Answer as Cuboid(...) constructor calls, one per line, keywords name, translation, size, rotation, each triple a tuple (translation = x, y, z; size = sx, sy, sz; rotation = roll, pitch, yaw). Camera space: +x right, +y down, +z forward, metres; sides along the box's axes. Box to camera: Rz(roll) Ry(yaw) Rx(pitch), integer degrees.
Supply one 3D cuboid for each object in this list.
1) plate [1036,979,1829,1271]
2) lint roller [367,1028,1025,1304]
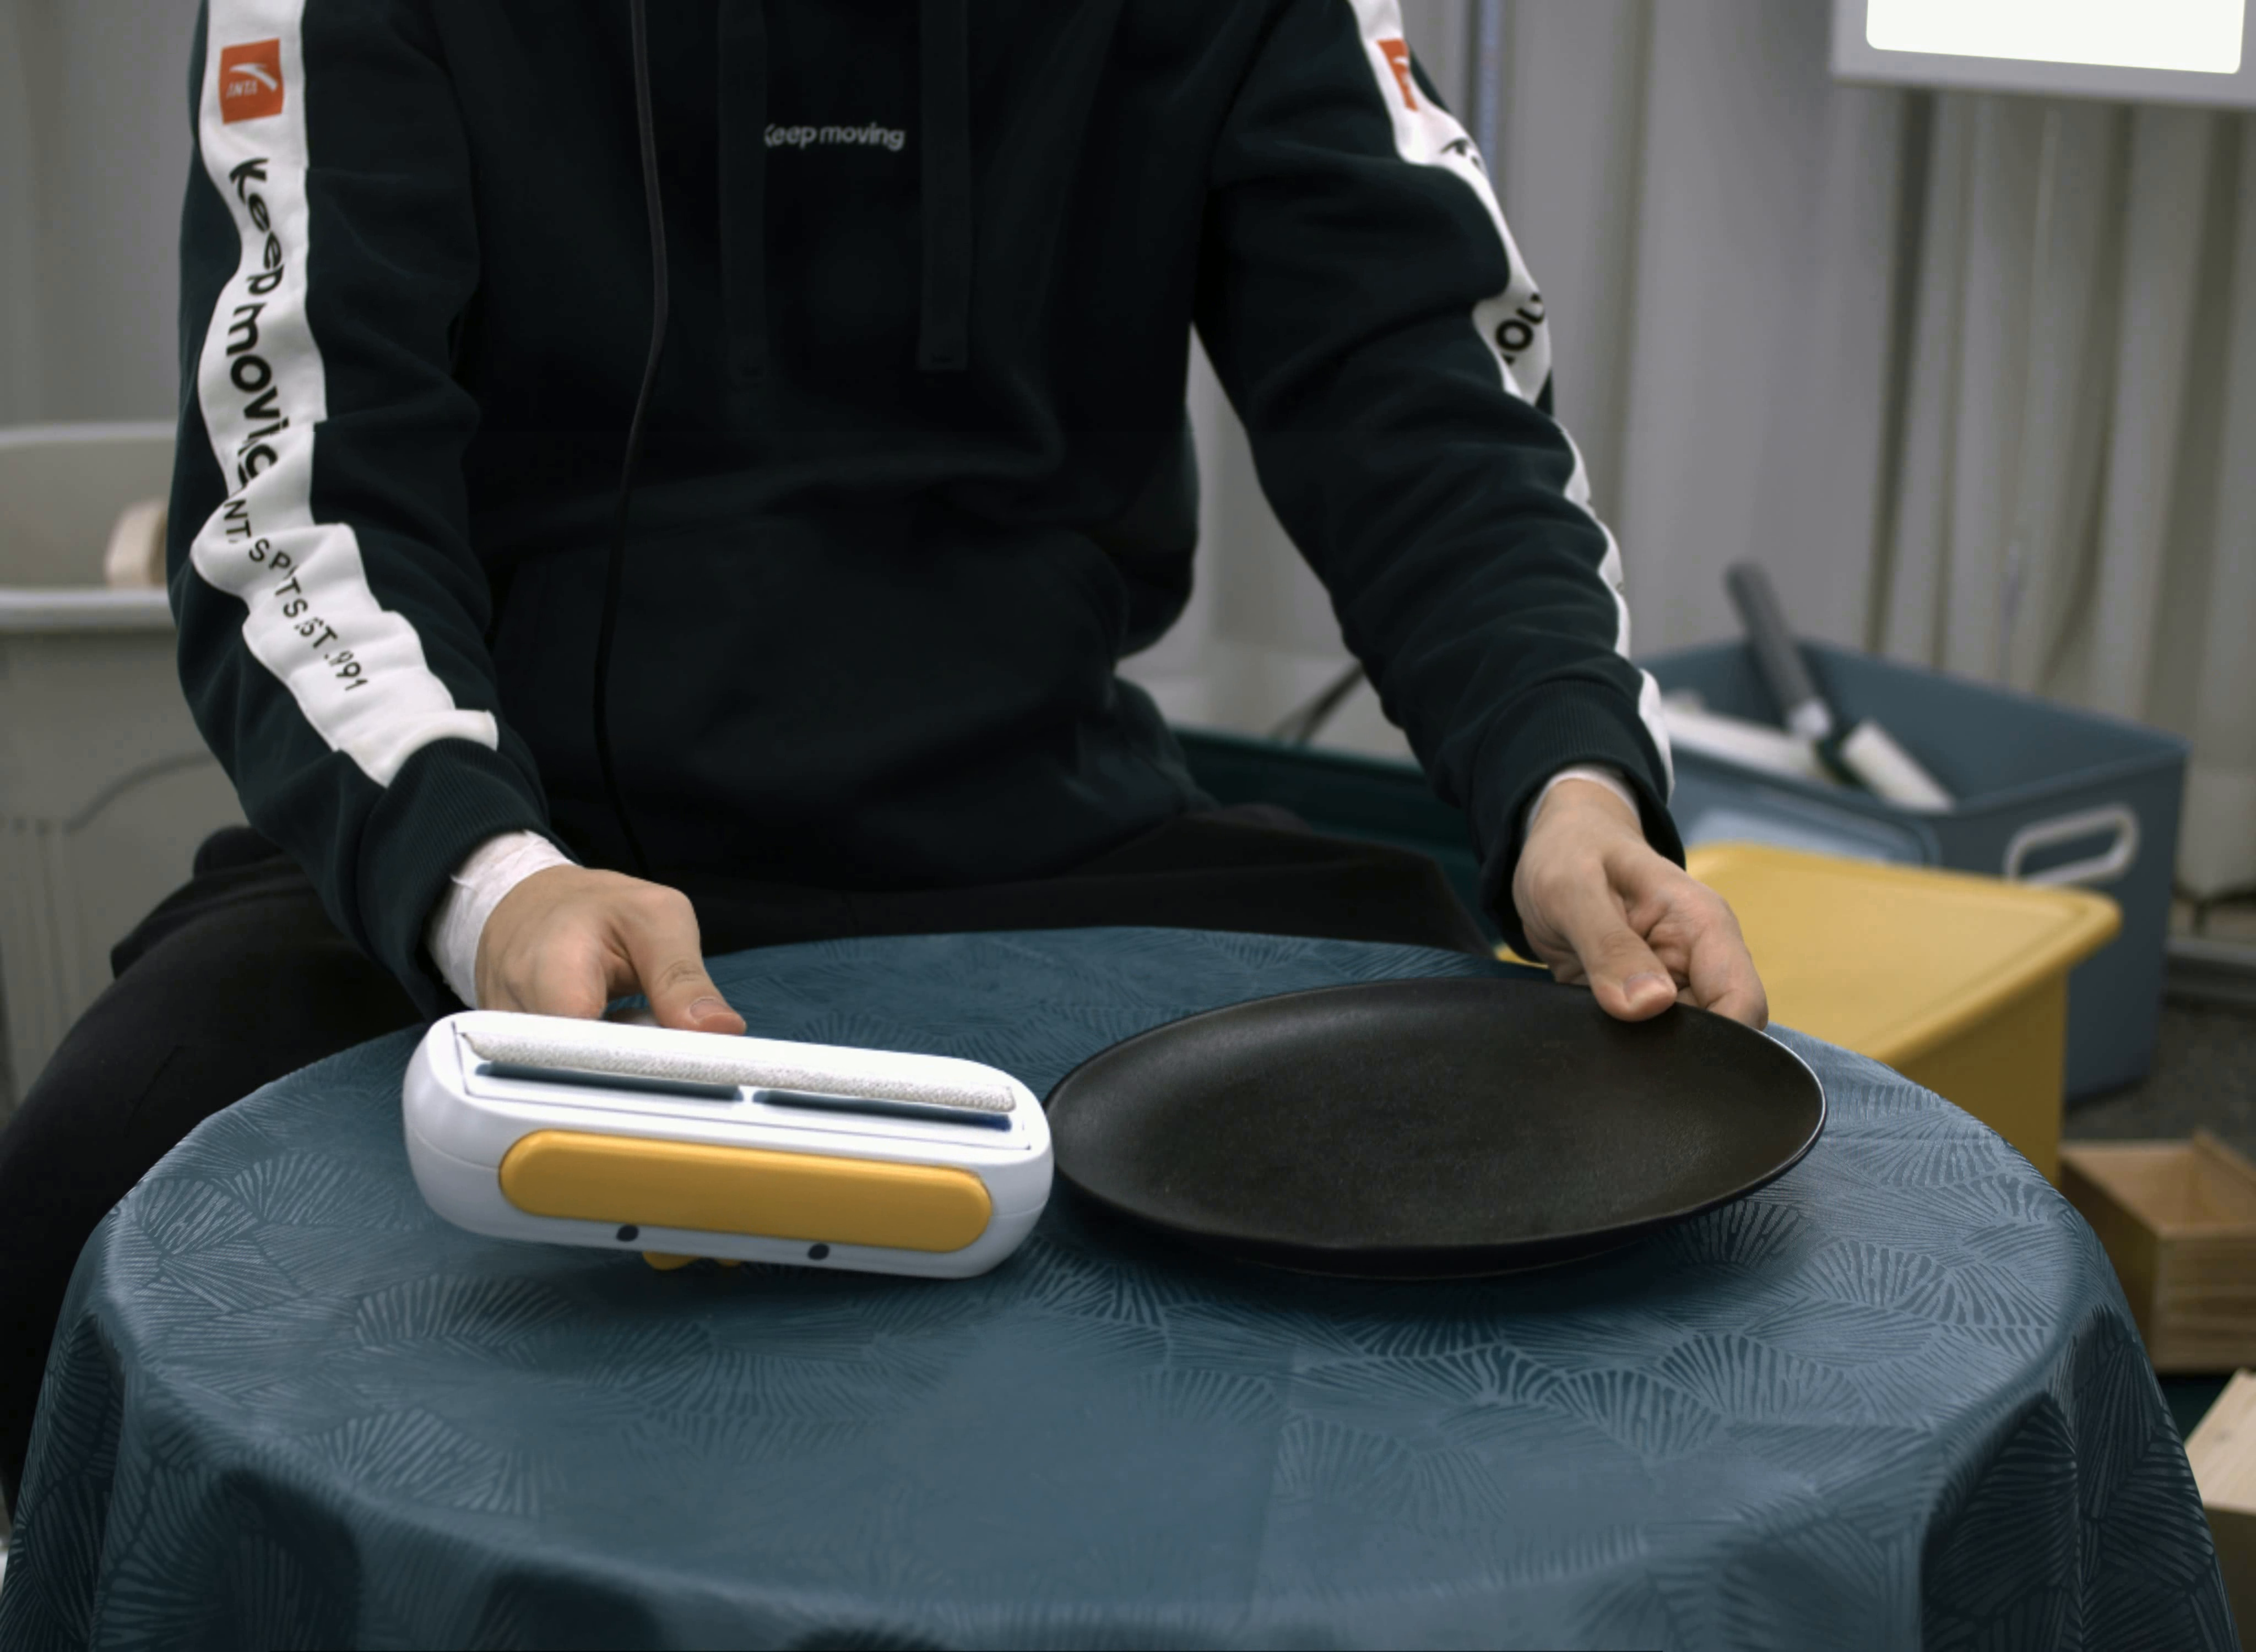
Cuboid(name="plate", translation=(0.093, 0.094, 1.620), size=(0.243, 0.023, 0.243), rotation=(-2, 17, 1))
Cuboid(name="lint roller", translation=(-0.136, 0.098, 1.589), size=(0.193, 0.074, 0.191), rotation=(6, 6, -11))
